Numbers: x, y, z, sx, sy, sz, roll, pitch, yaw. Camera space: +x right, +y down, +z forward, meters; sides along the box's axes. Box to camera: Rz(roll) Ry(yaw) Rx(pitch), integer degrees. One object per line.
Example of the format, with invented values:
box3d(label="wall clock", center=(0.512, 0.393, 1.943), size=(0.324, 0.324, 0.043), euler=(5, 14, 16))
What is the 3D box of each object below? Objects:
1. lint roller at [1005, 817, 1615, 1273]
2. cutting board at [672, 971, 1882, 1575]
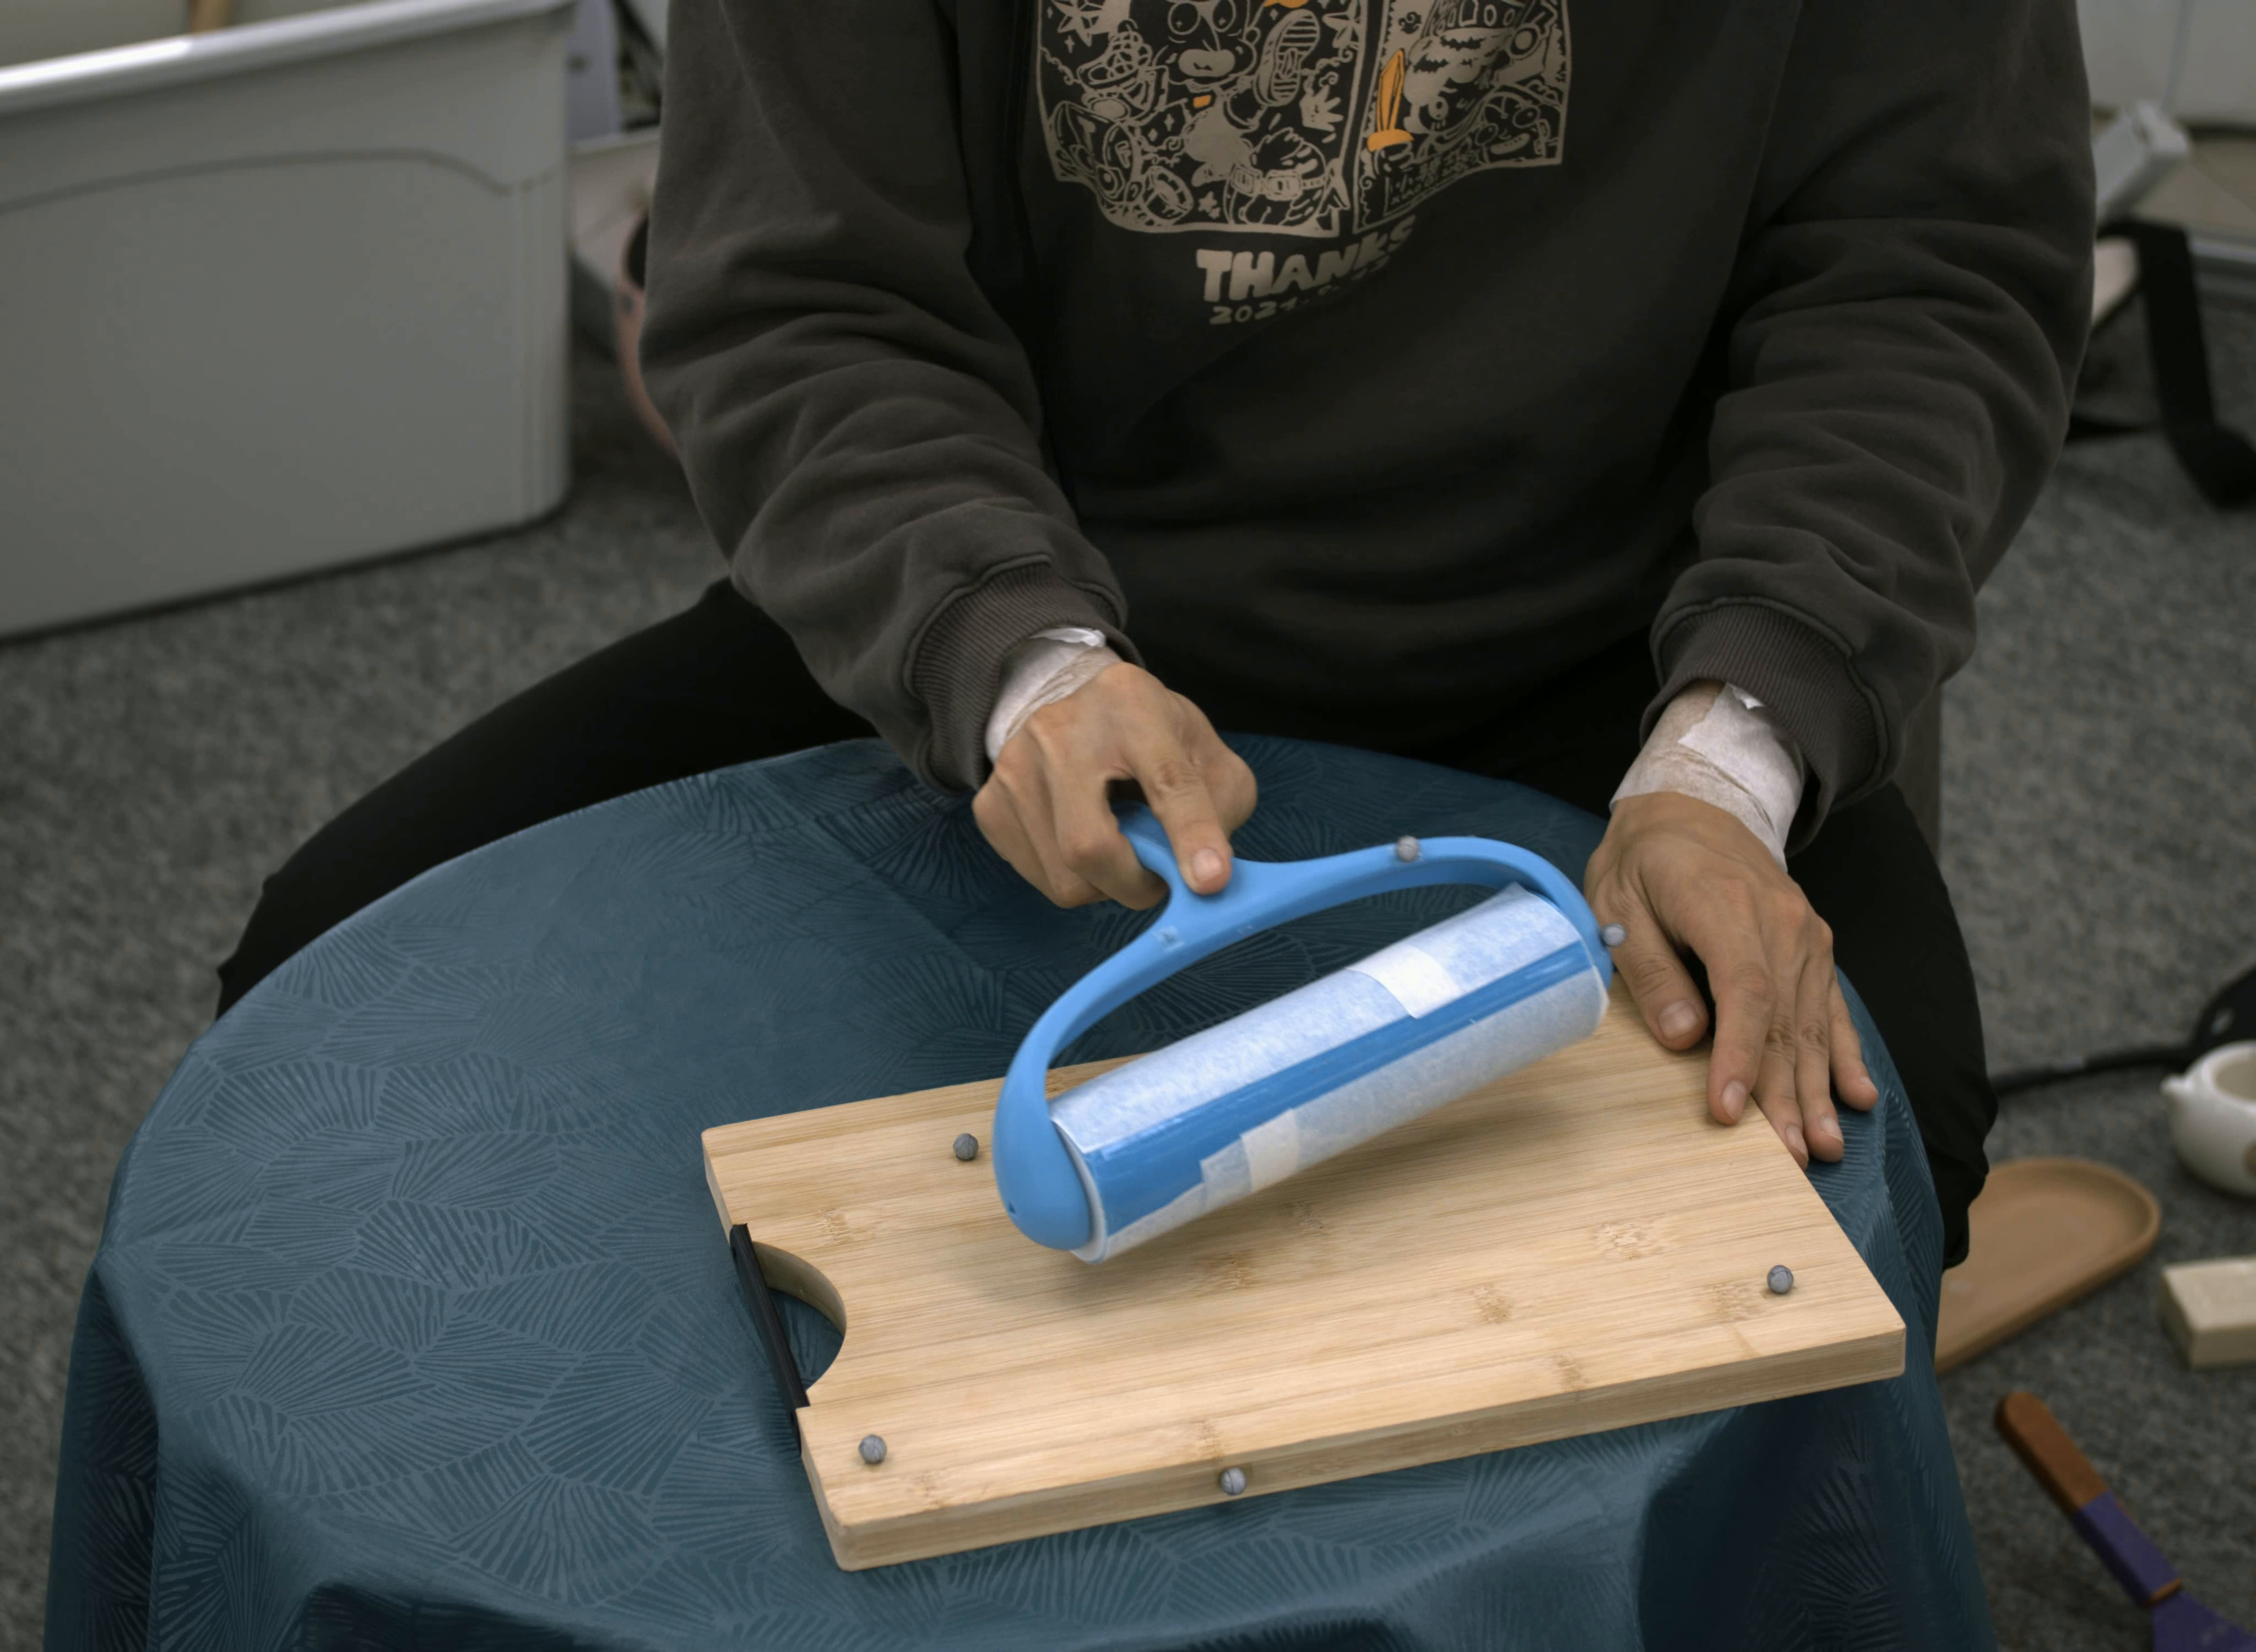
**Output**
box3d(label="lint roller", center=(0.027, 0.043, 1.837), size=(0.231, 0.067, 0.181), euler=(-26, 54, -27))
box3d(label="cutting board", center=(0.043, 0.138, 1.808), size=(0.348, 0.023, 0.253), euler=(-9, 28, -12))
